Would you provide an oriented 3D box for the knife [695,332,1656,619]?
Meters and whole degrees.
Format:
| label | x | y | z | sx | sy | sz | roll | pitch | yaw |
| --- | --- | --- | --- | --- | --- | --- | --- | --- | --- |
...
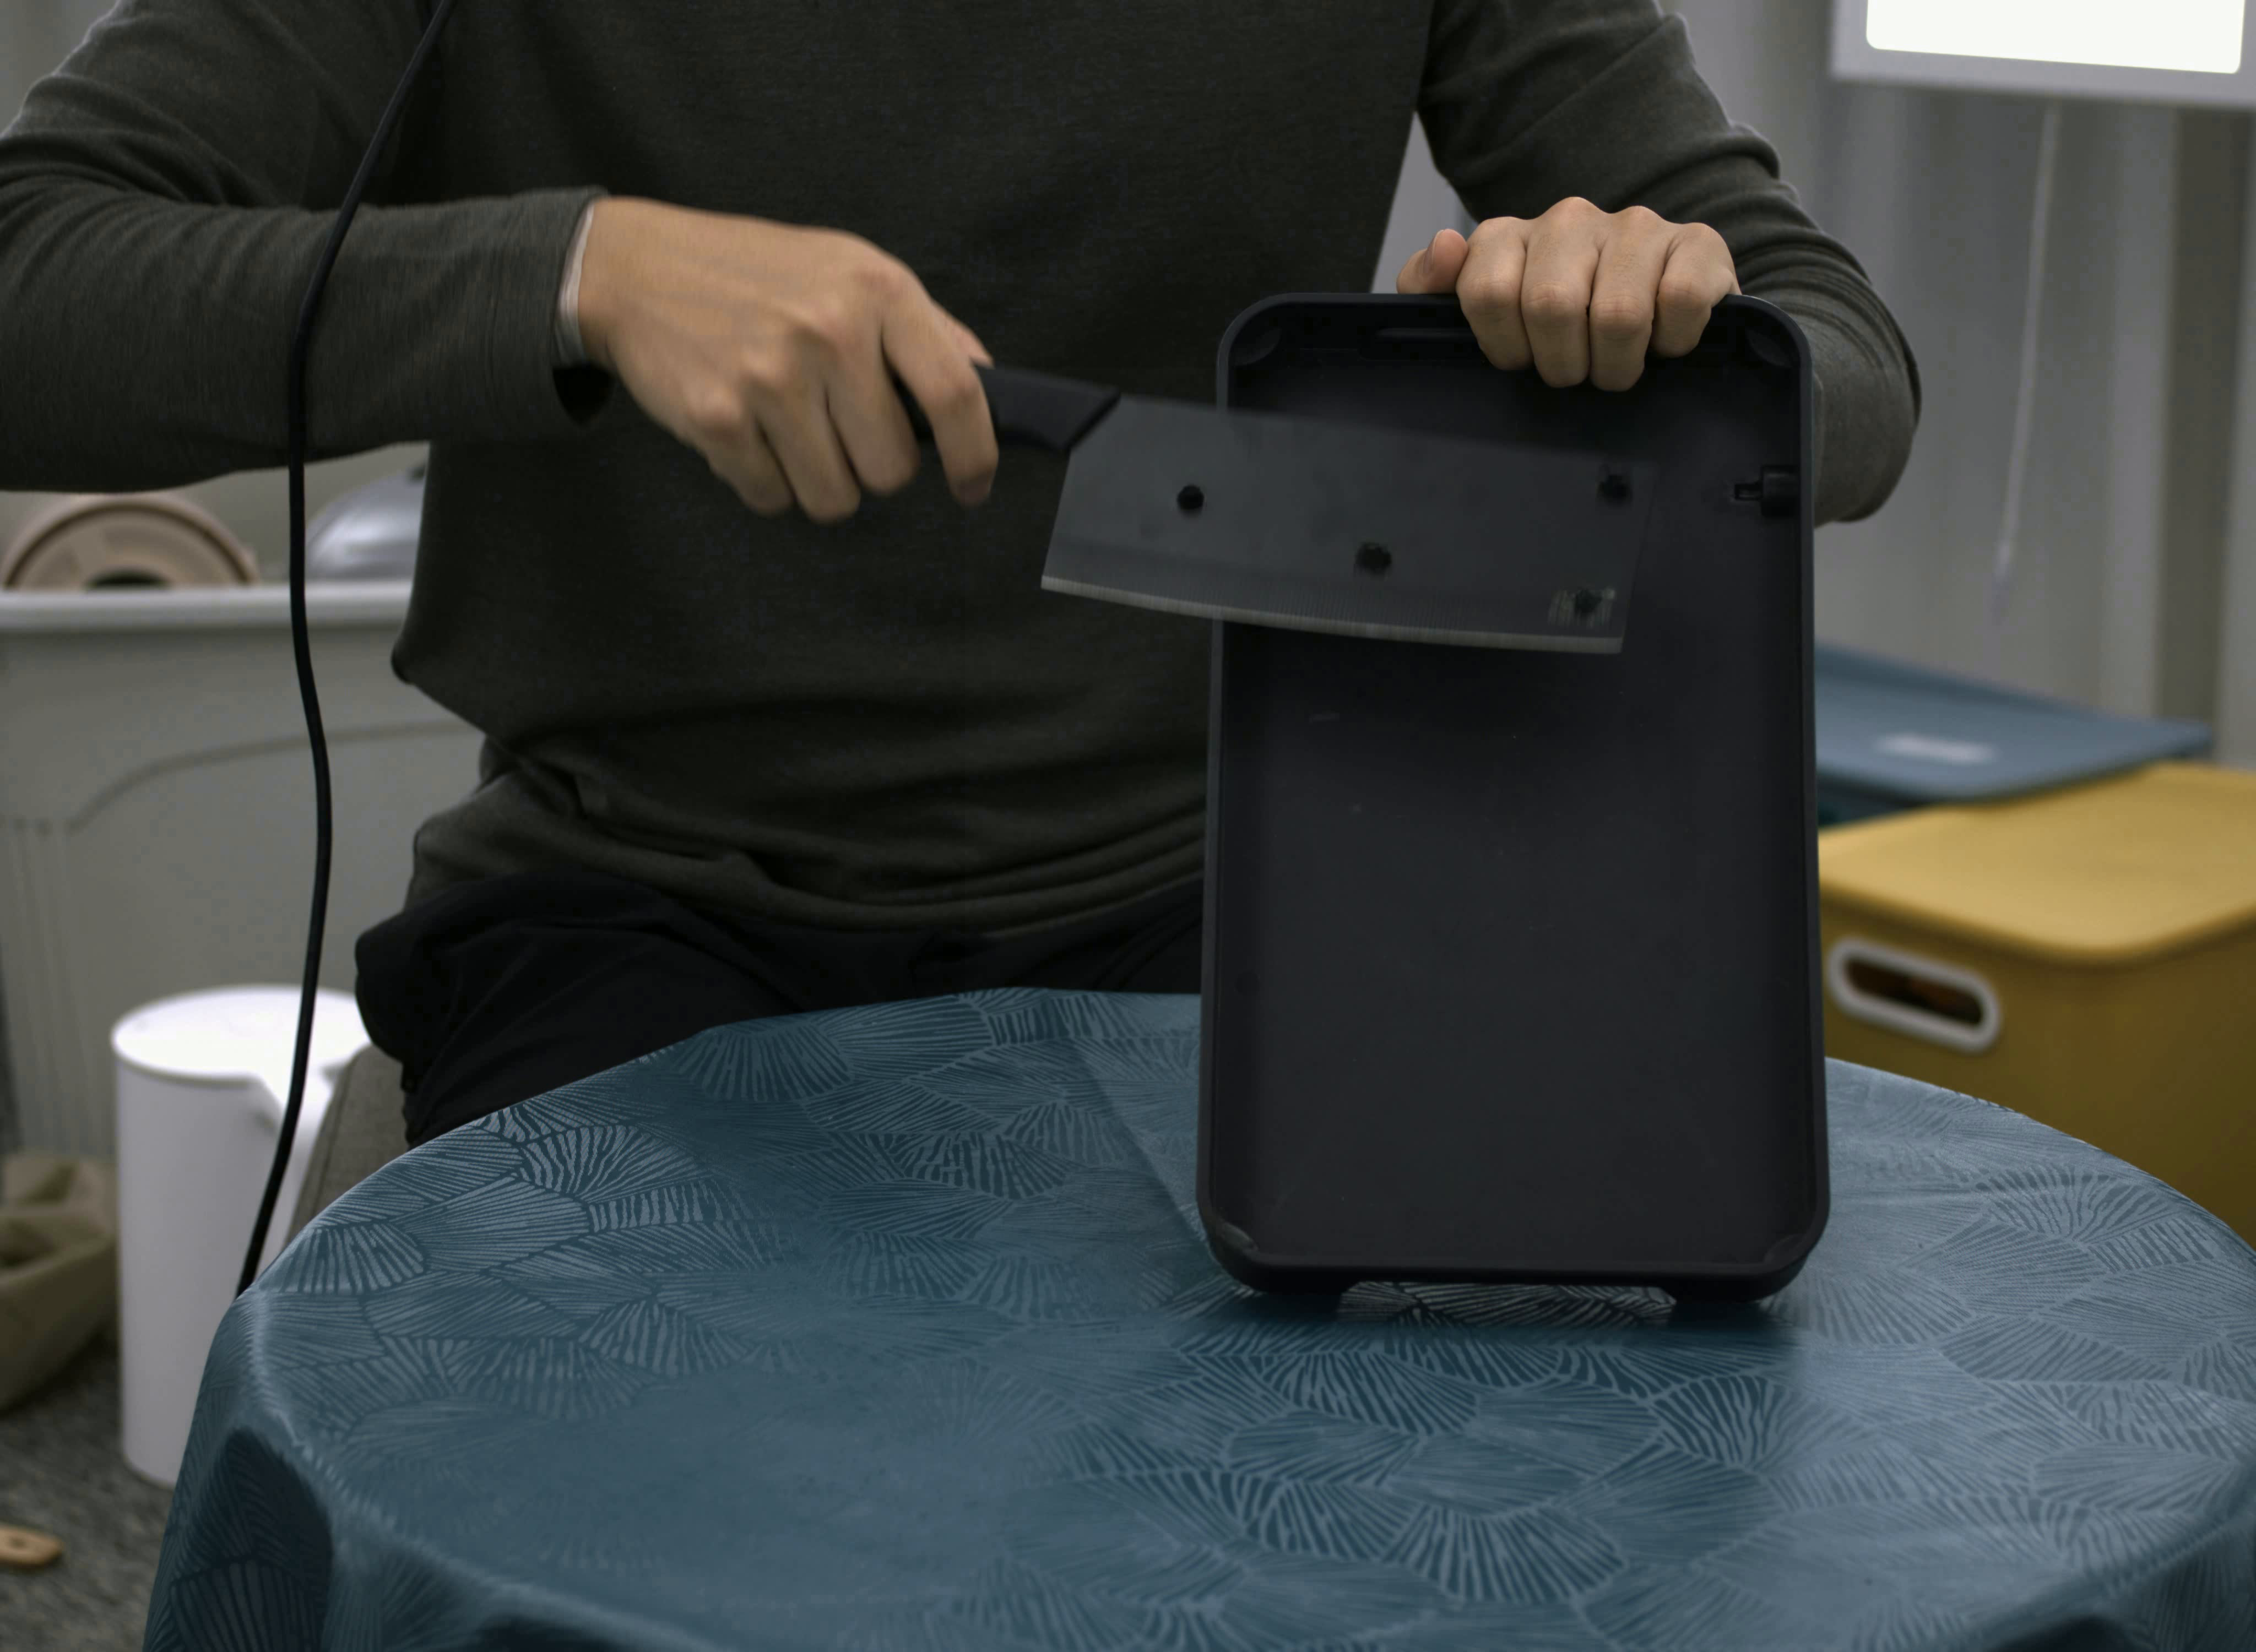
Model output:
| label | x | y | z | sx | sy | sz | roll | pitch | yaw |
| --- | --- | --- | --- | --- | --- | --- | --- | --- | --- |
| knife | 0.011 | -0.109 | 1.604 | 0.300 | 0.081 | 0.021 | 12 | -20 | 14 |

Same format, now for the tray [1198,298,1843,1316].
| label | x | y | z | sx | sy | sz | roll | pitch | yaw |
| --- | --- | --- | --- | --- | --- | --- | --- | --- | --- |
| tray | 0.114 | -0.008 | 1.577 | 0.183 | 0.316 | 0.037 | -1 | -22 | 1 |
